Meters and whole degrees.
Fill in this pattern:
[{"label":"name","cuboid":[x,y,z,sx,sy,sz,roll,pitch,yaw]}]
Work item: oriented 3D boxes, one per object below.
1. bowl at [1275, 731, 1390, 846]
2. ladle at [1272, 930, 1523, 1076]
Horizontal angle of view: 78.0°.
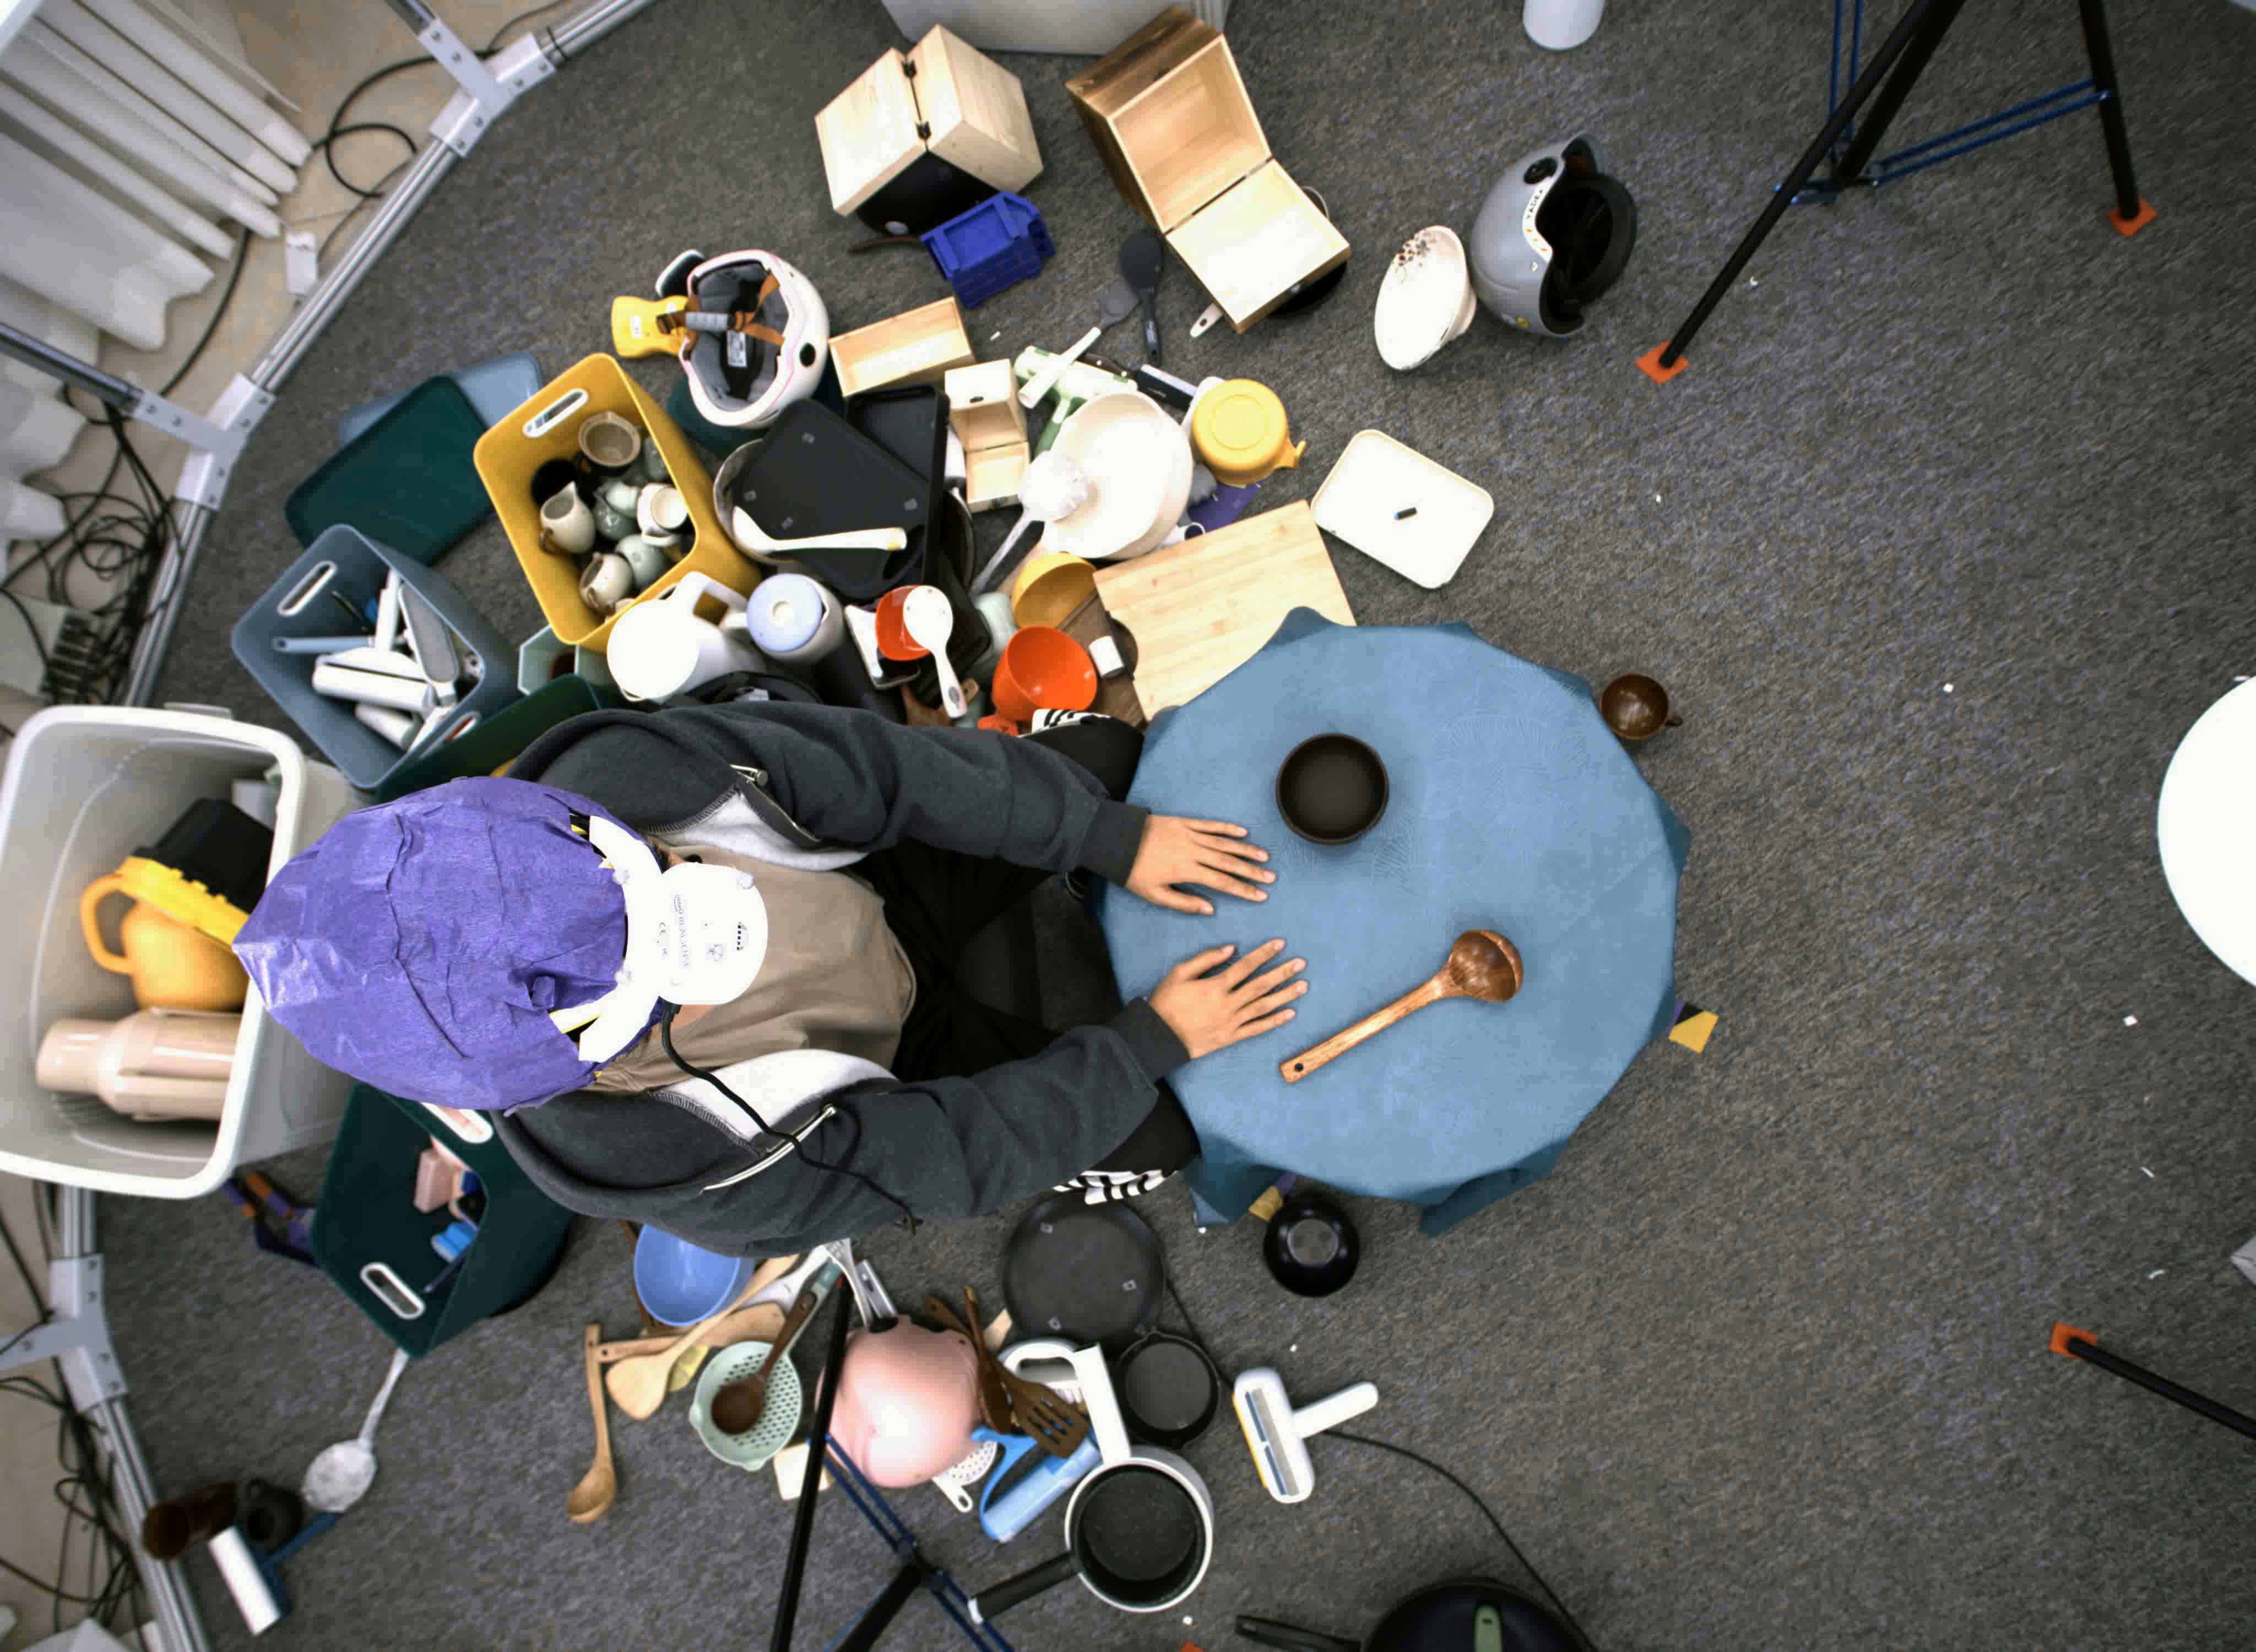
[{"label":"bowl","cuboid":[0.213,-0.038,1.438,0.118,0.070,0.117,-1,86,10]},{"label":"ladle","cuboid":[0.273,0.192,1.412,0.275,0.076,0.081,-28,86,7]}]
